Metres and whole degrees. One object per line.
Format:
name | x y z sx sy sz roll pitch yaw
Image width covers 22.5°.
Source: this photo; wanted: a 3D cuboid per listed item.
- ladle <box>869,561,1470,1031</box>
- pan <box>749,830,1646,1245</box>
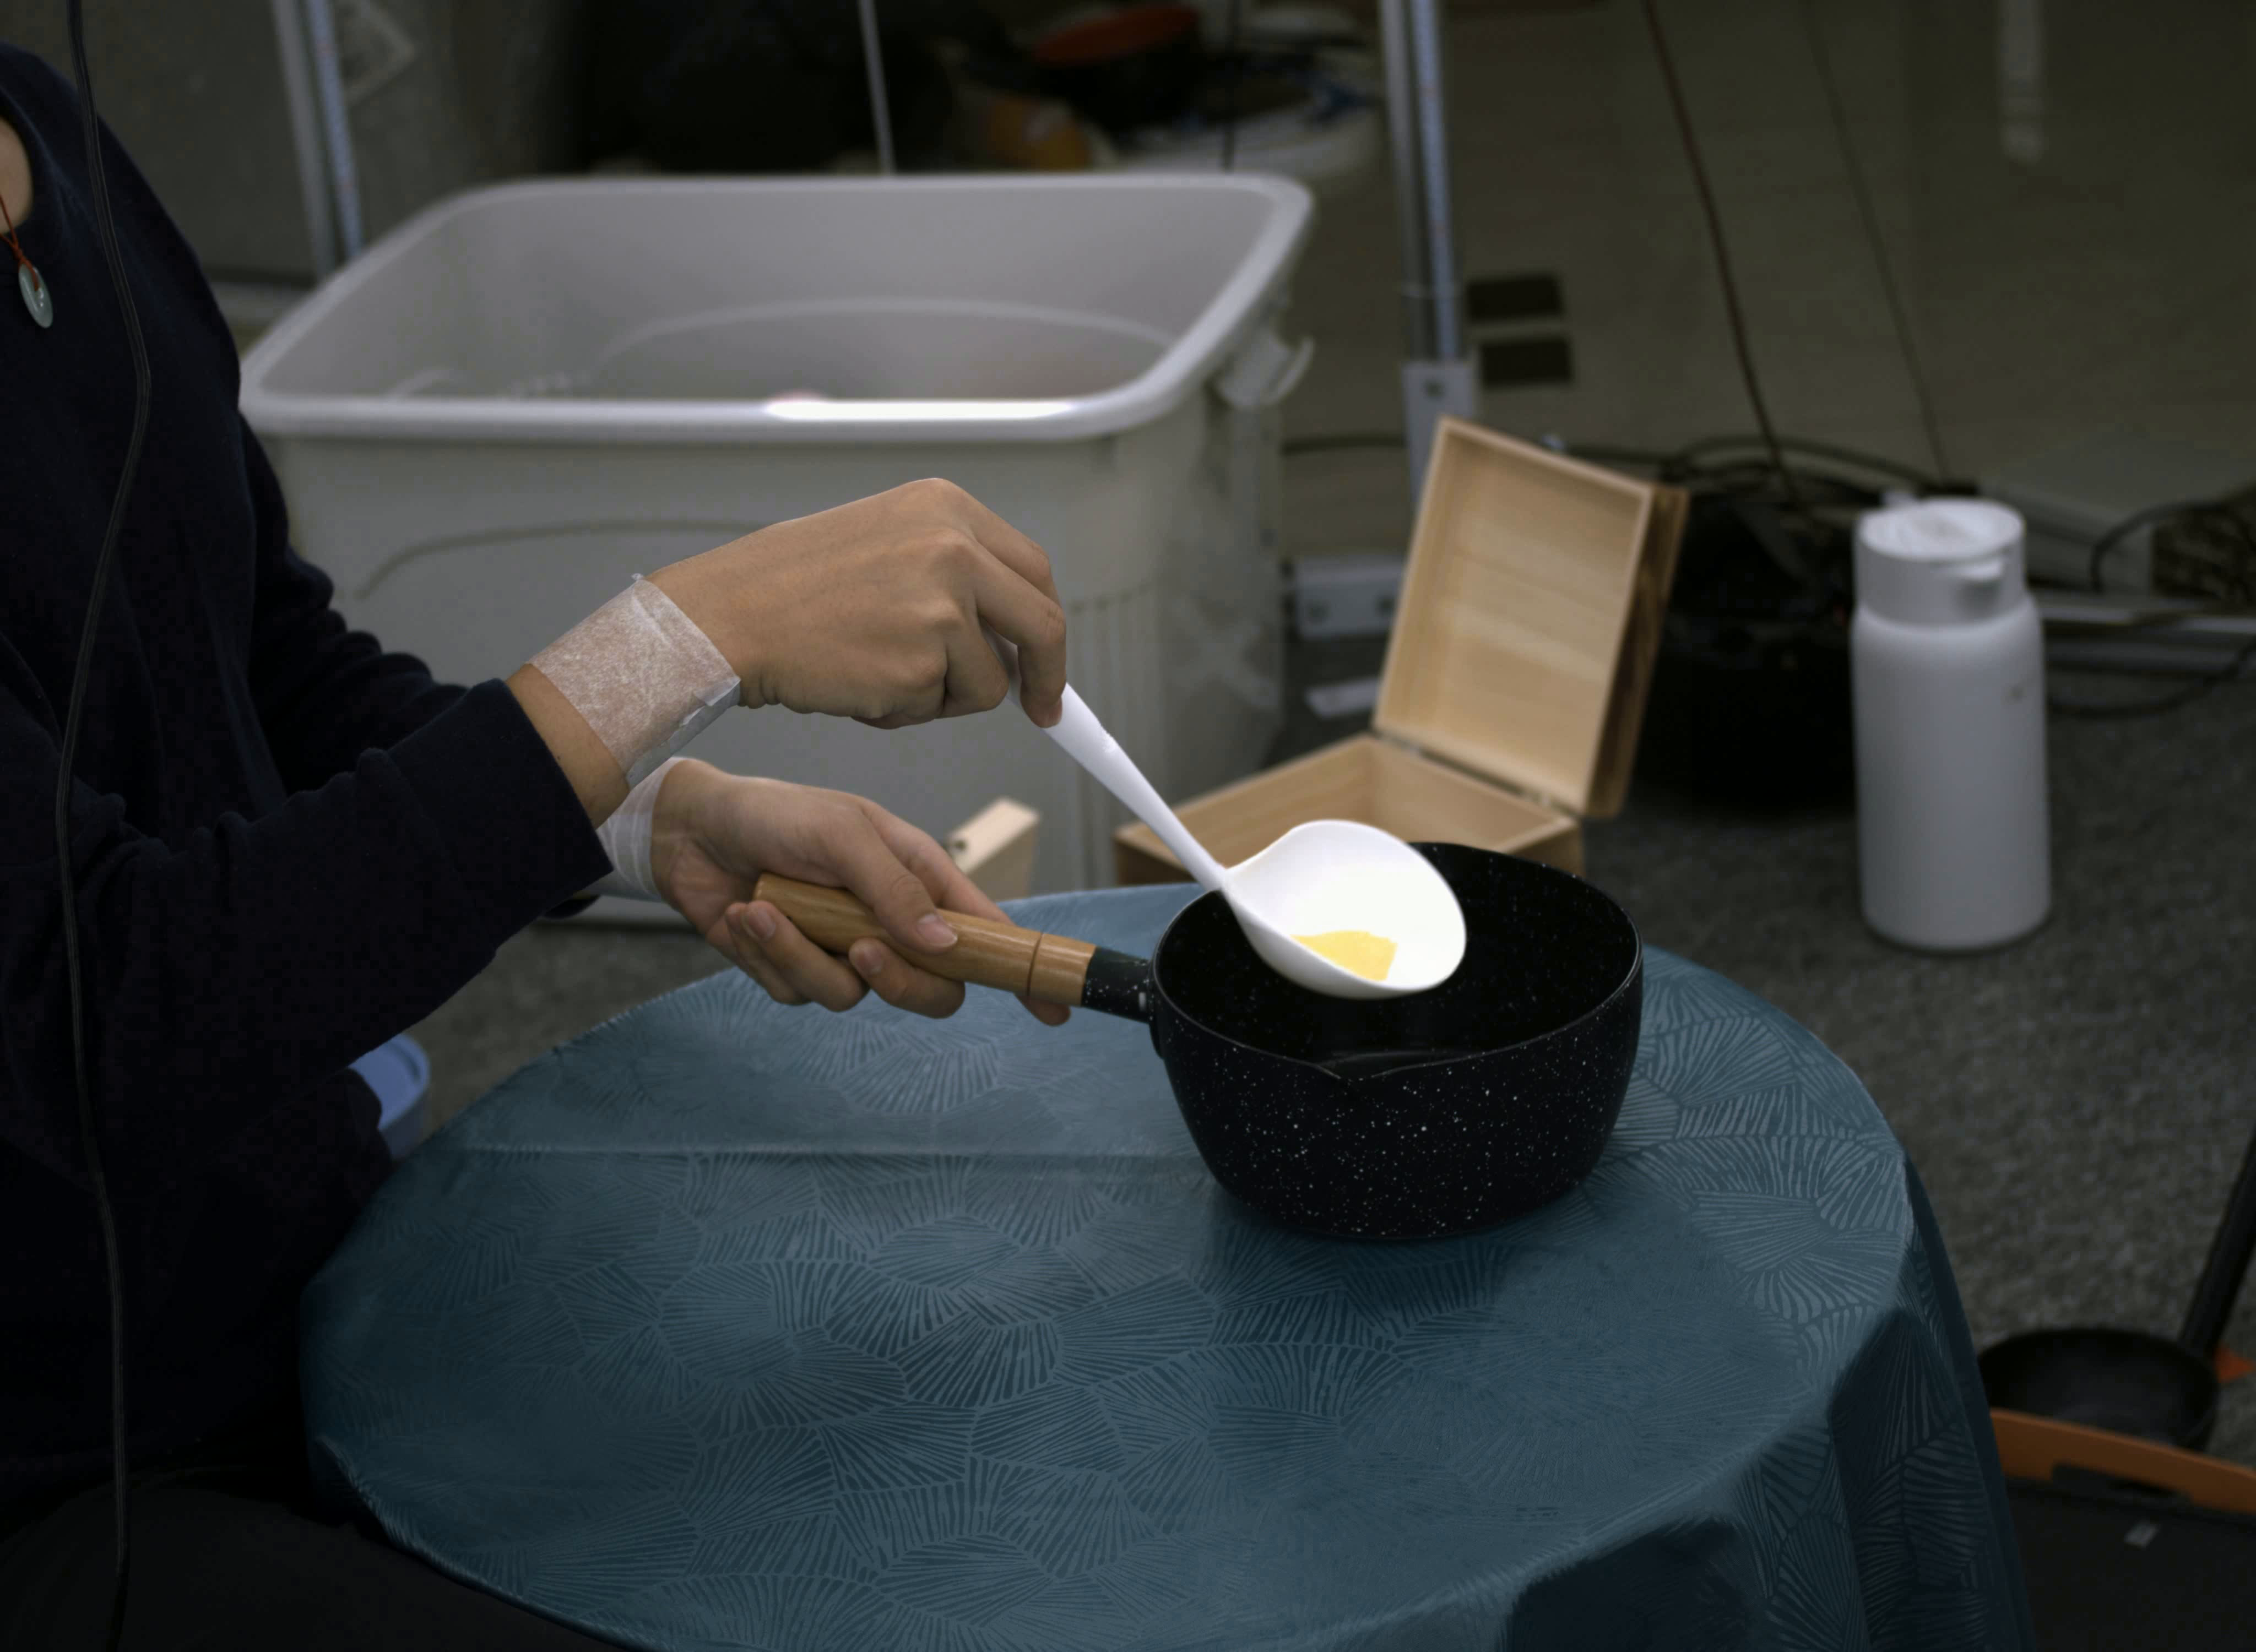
ladle | 0.020 -0.014 2.038 0.070 0.297 0.088 -25 47 23
pan | 0.024 0.072 2.141 0.342 0.110 0.204 2 27 10
